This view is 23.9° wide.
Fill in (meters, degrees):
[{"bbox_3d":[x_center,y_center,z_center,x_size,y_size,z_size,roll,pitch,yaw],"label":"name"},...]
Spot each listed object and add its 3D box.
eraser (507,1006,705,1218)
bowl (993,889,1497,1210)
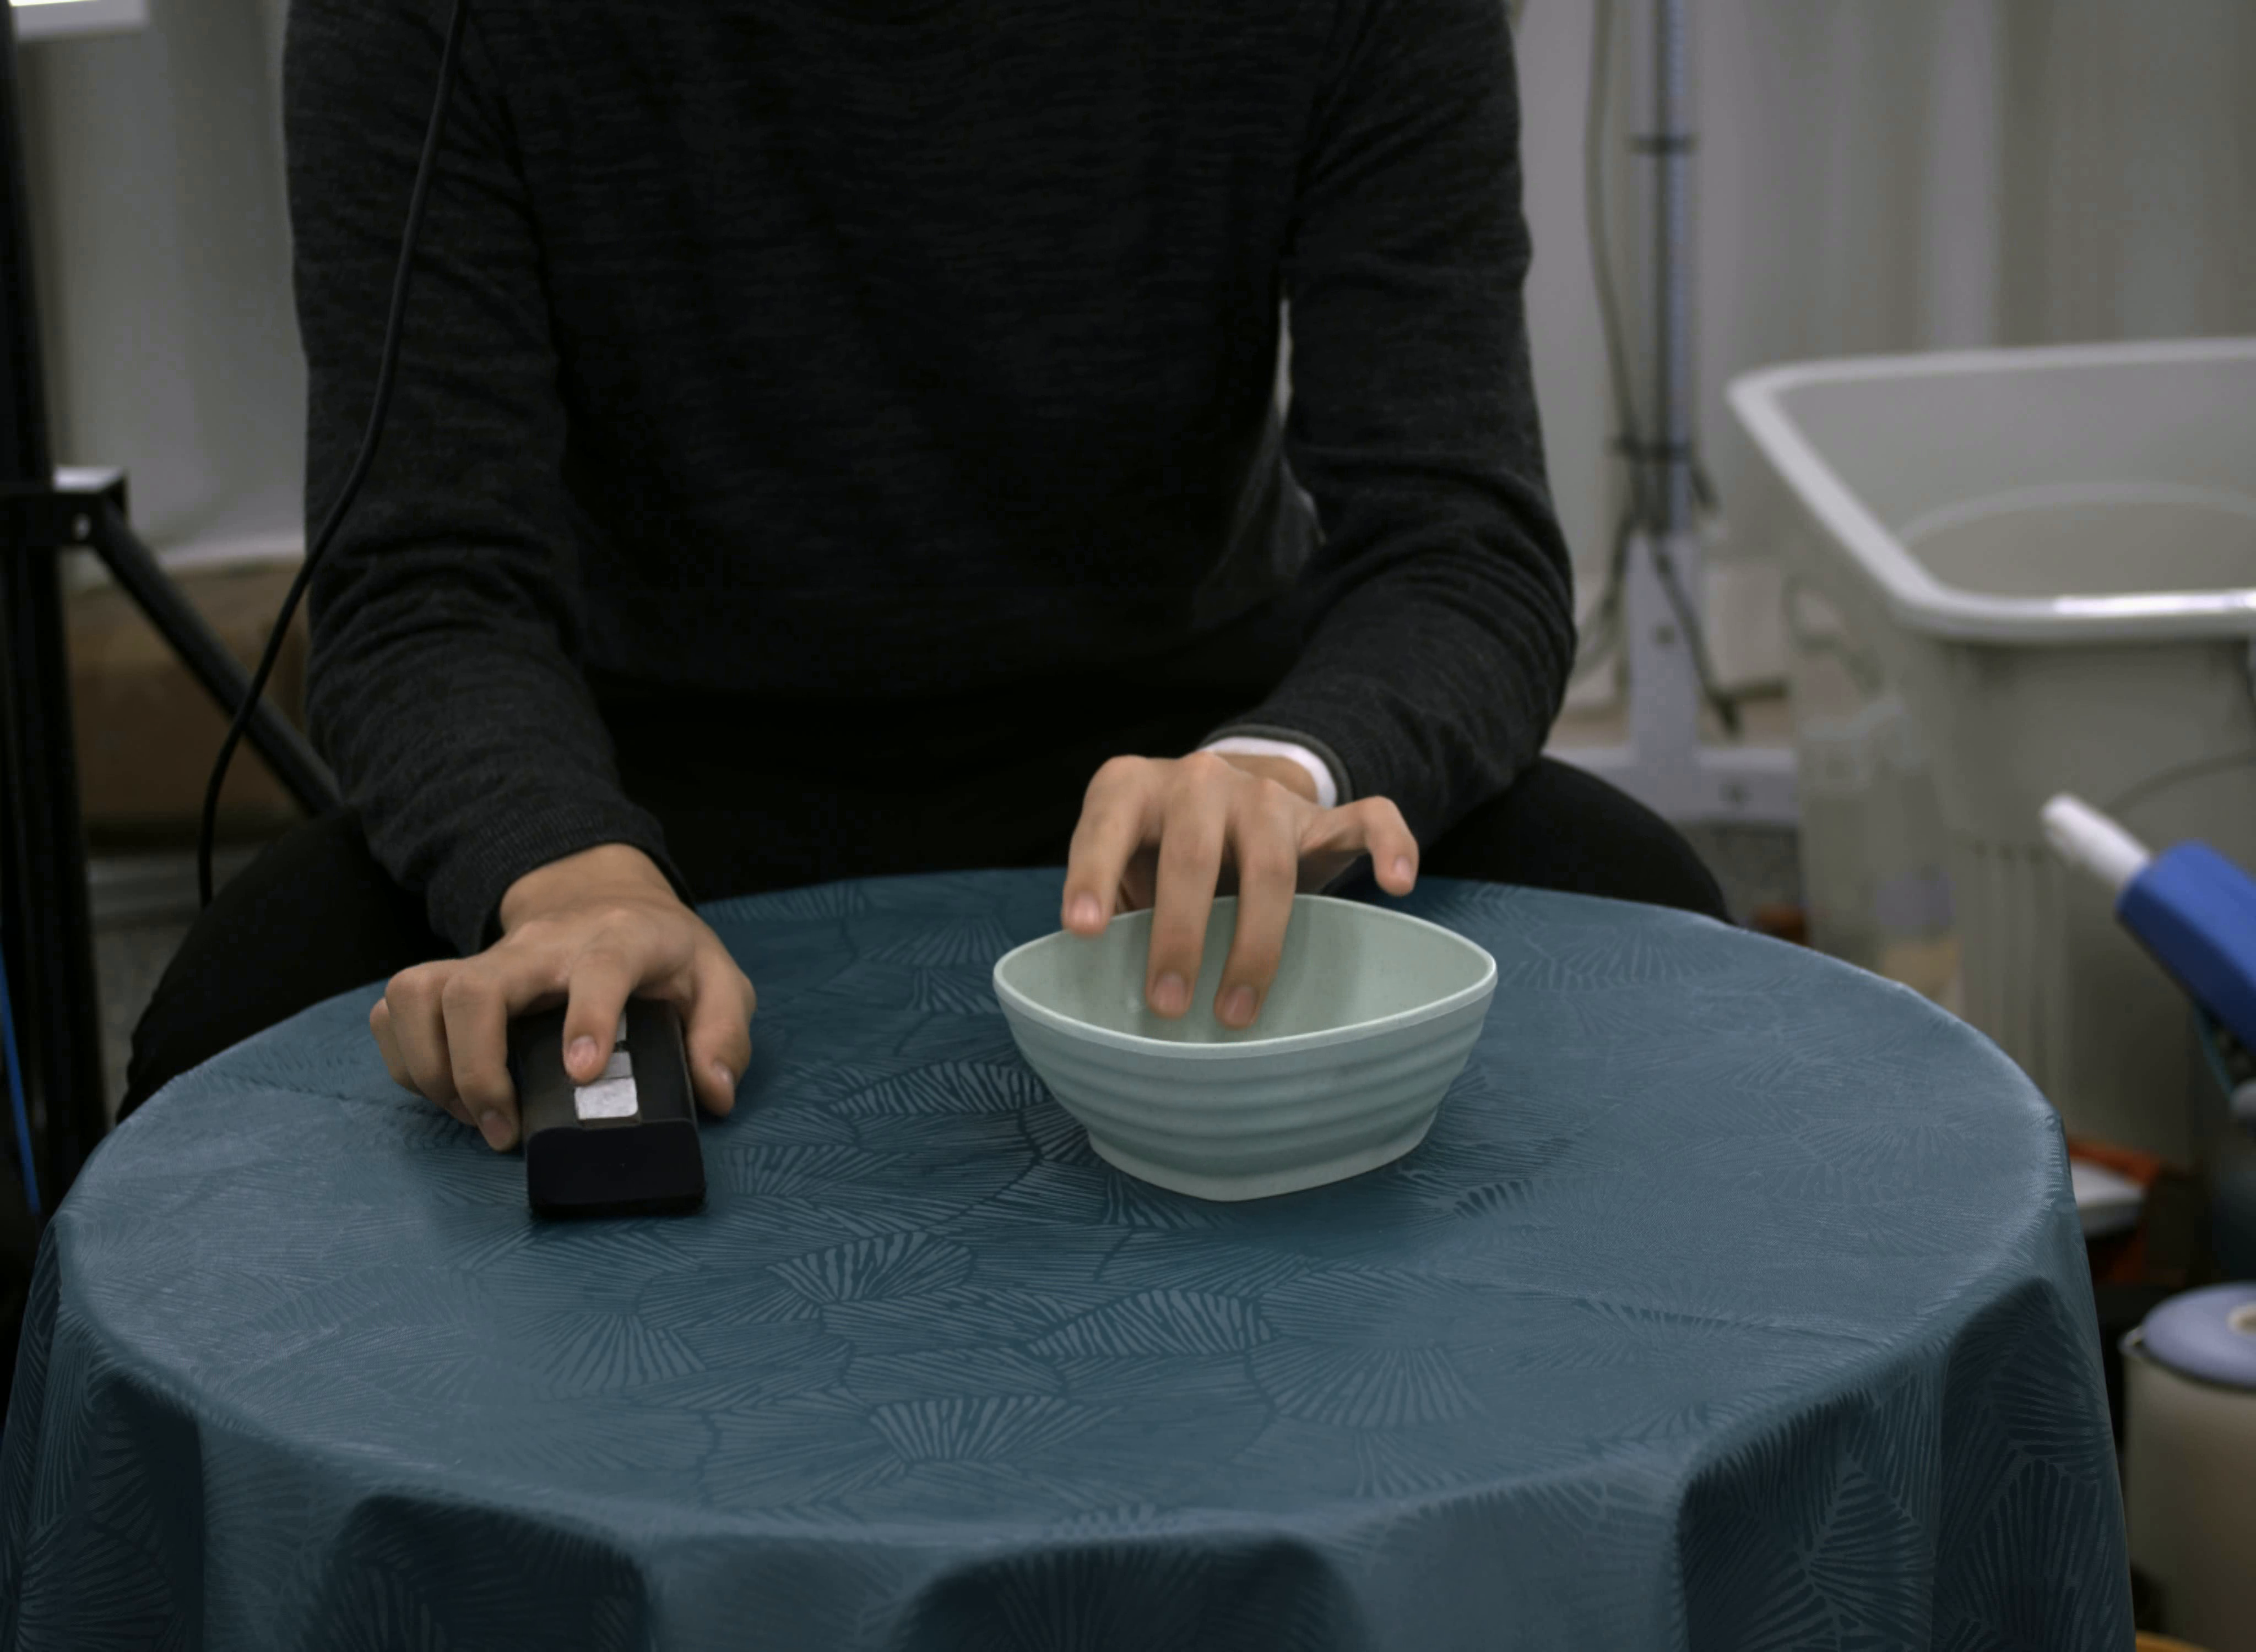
[{"bbox_3d":[-0.158,0.086,1.610,0.053,0.030,0.127,-2,15,-8],"label":"eraser"},{"bbox_3d":[0.035,0.070,1.585,0.150,0.058,0.152,-2,17,-1],"label":"bowl"}]
